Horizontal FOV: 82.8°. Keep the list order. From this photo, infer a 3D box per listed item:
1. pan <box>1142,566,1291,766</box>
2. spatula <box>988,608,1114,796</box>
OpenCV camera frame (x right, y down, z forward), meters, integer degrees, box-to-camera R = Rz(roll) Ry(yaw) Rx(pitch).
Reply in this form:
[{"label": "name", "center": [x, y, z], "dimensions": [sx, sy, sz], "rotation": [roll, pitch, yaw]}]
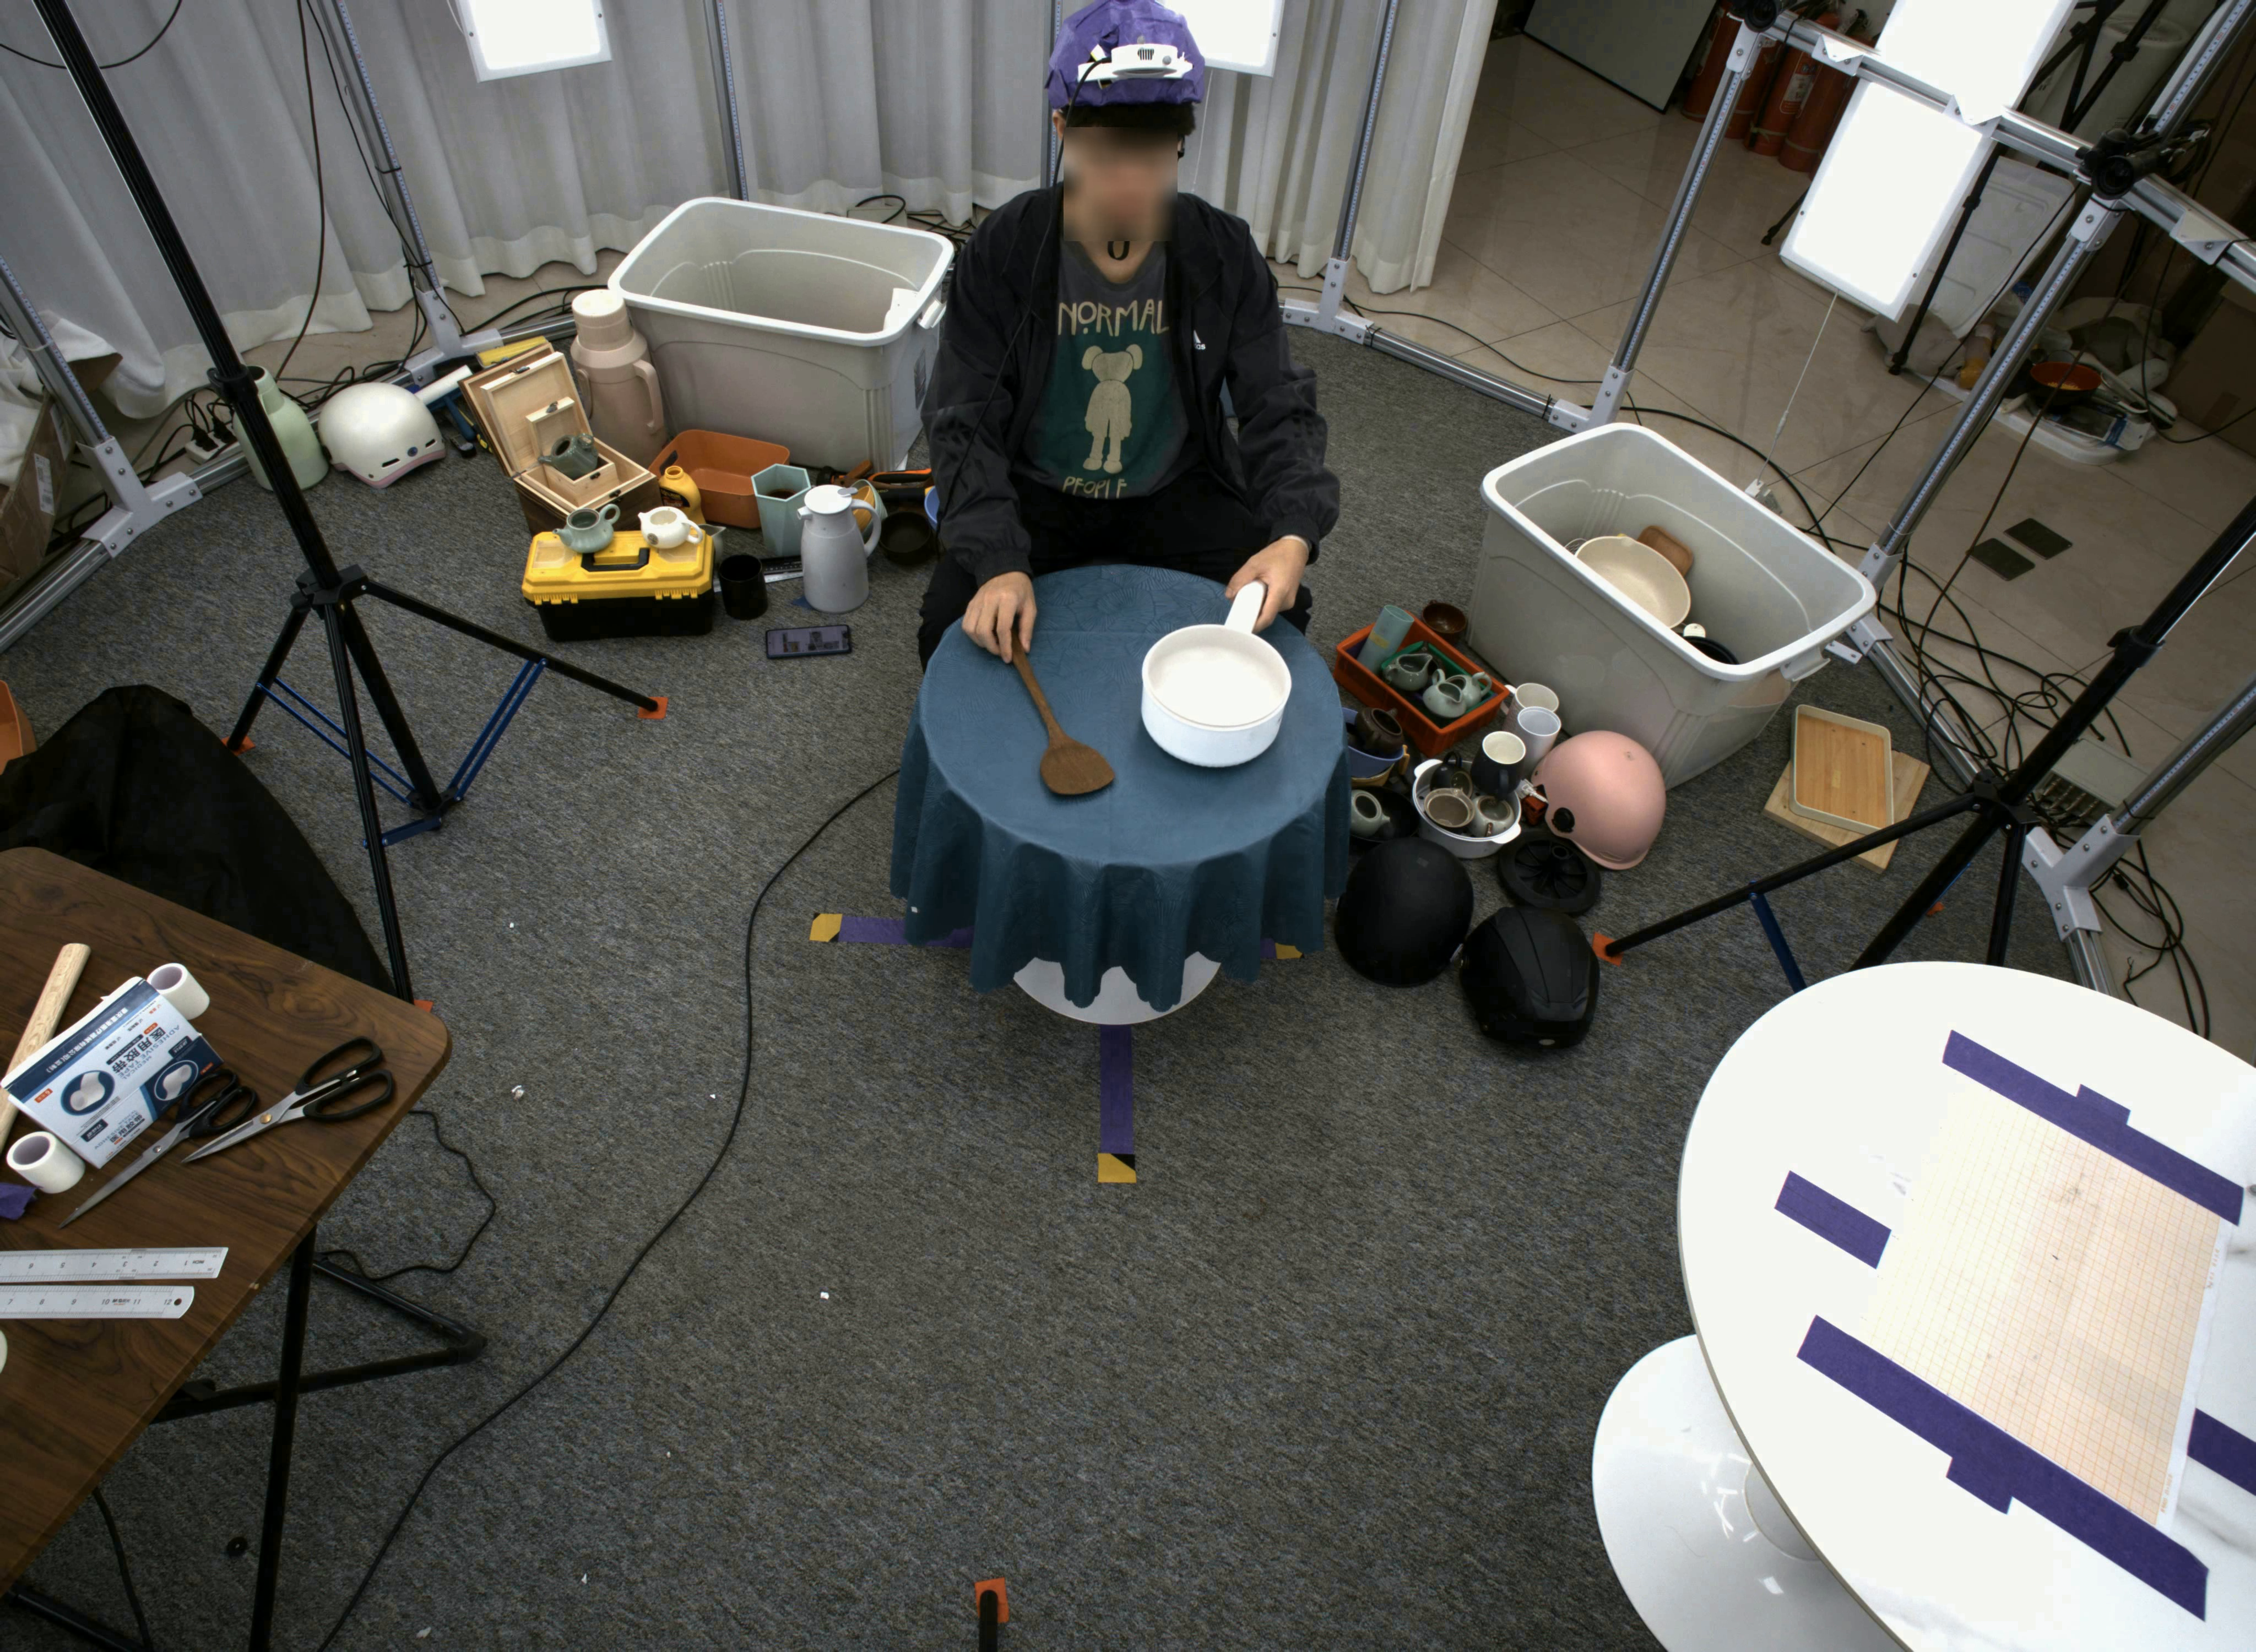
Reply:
[{"label": "pan", "center": [0.142, -0.228, 1.811], "dimensions": [0.202, 0.099, 0.362], "rotation": [15, 48, 10]}, {"label": "spatula", "center": [-0.127, -0.185, 1.806], "dimensions": [0.096, 0.015, 0.395], "rotation": [-14, 52, -17]}]
